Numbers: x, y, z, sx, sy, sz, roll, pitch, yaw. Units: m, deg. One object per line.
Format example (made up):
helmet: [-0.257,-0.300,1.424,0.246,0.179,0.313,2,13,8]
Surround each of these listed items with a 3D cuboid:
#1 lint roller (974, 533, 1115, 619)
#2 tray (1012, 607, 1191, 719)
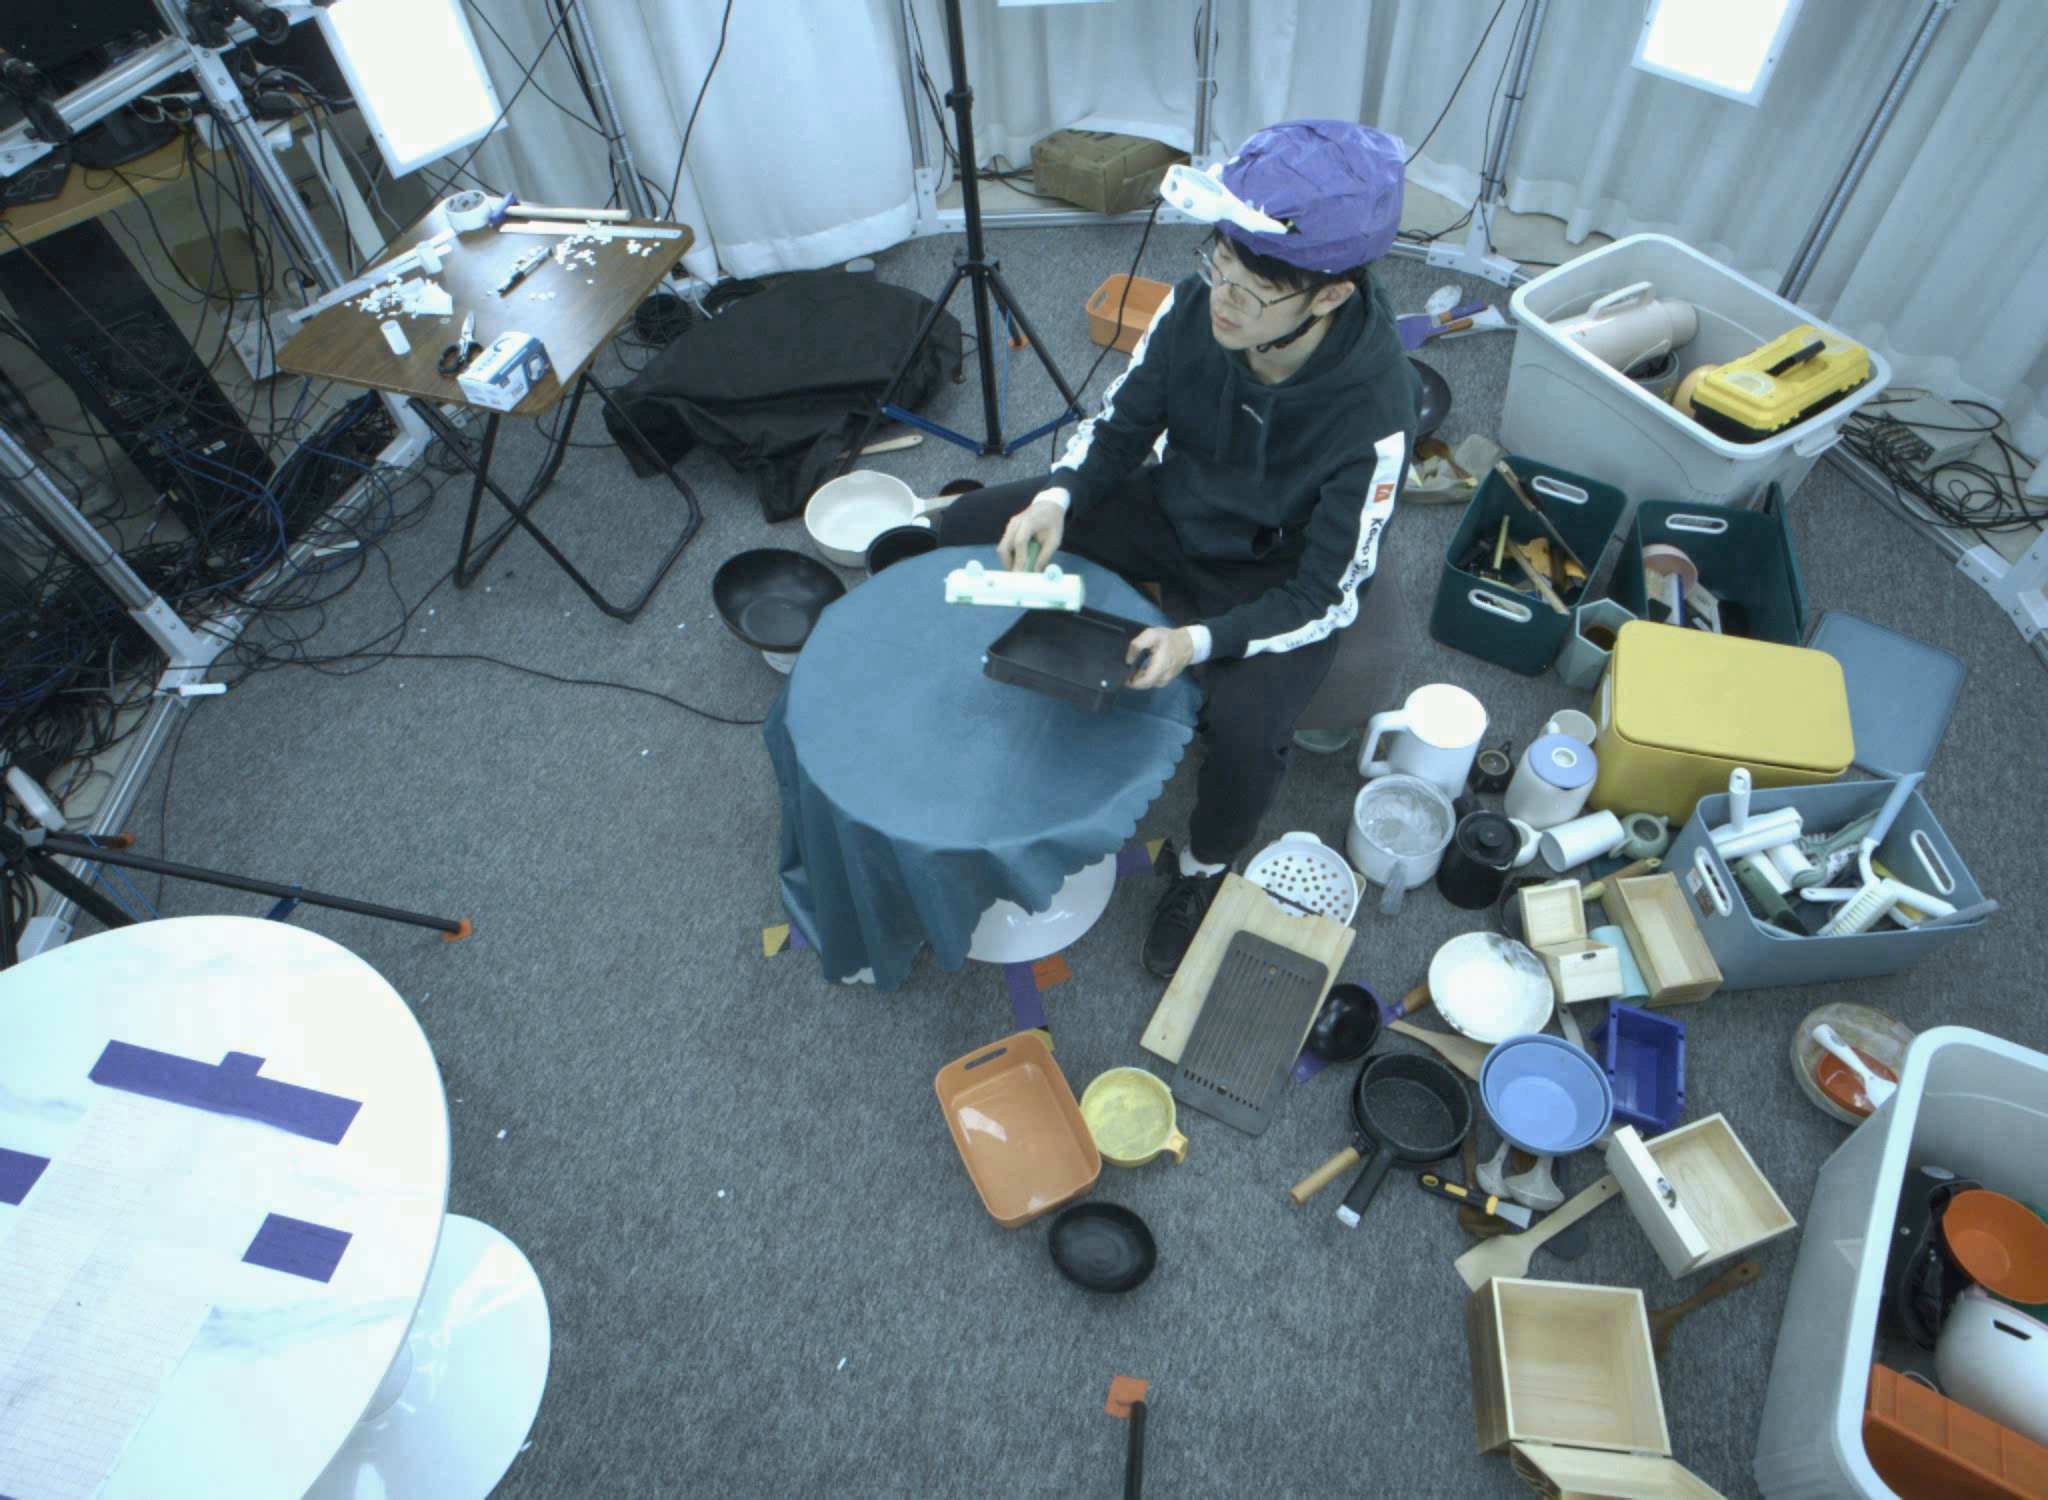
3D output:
lint roller: [0.041,-0.269,1.773,0.197,0.083,0.182,7,56,12]
tray: [0.112,-0.133,1.702,0.183,0.037,0.319,21,25,10]
